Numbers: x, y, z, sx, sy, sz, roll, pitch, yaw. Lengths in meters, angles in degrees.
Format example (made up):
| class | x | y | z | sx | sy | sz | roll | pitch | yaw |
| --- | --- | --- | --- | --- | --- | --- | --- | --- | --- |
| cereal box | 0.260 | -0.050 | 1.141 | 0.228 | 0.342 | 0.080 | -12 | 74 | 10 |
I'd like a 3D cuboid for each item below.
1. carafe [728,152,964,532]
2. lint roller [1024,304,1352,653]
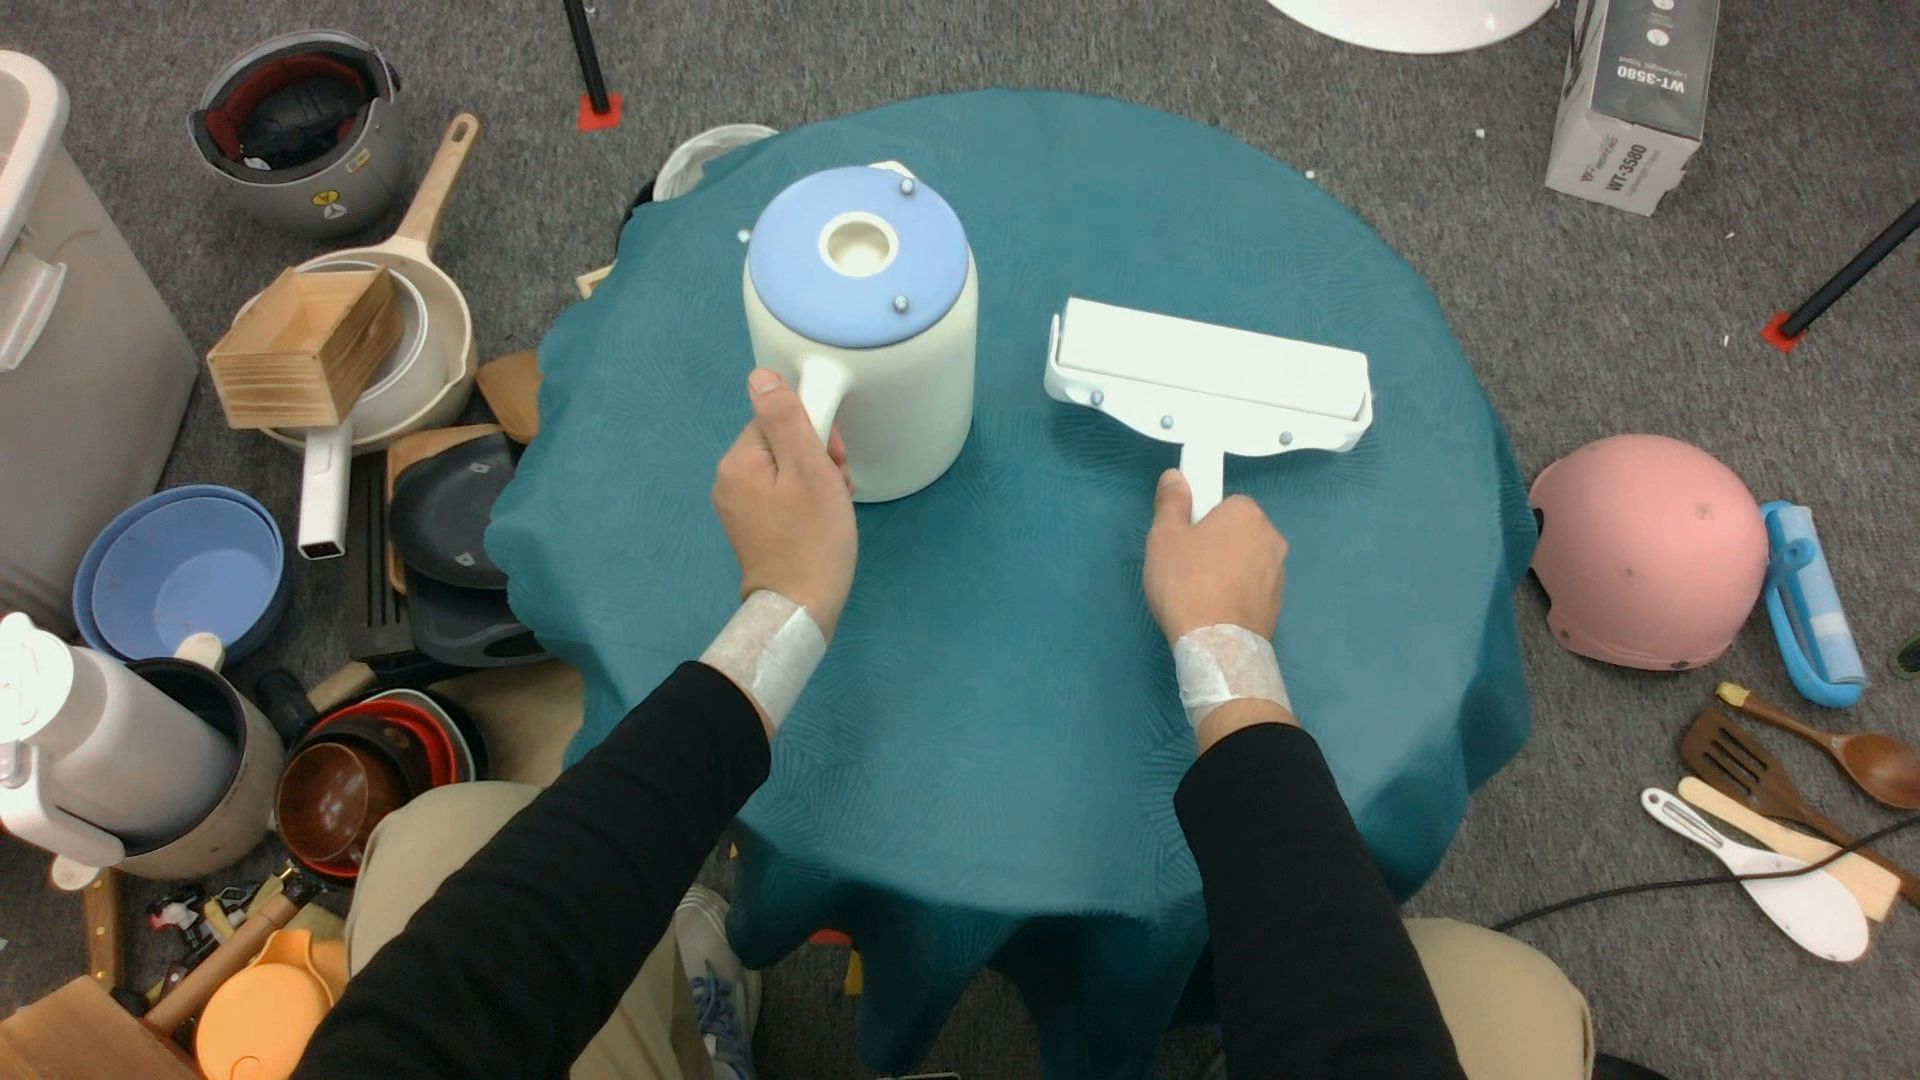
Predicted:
| class | x | y | z | sx | sy | sz | roll | pitch | yaw |
| --- | --- | --- | --- | --- | --- | --- | --- | --- | --- |
| carafe | -0.070 | -0.100 | 0.798 | 0.132 | 0.182 | 0.192 | 12 | 66 | 5 |
| lint roller | 0.136 | -0.038 | 0.823 | 0.203 | 0.048 | 0.226 | 9 | 57 | -3 |
